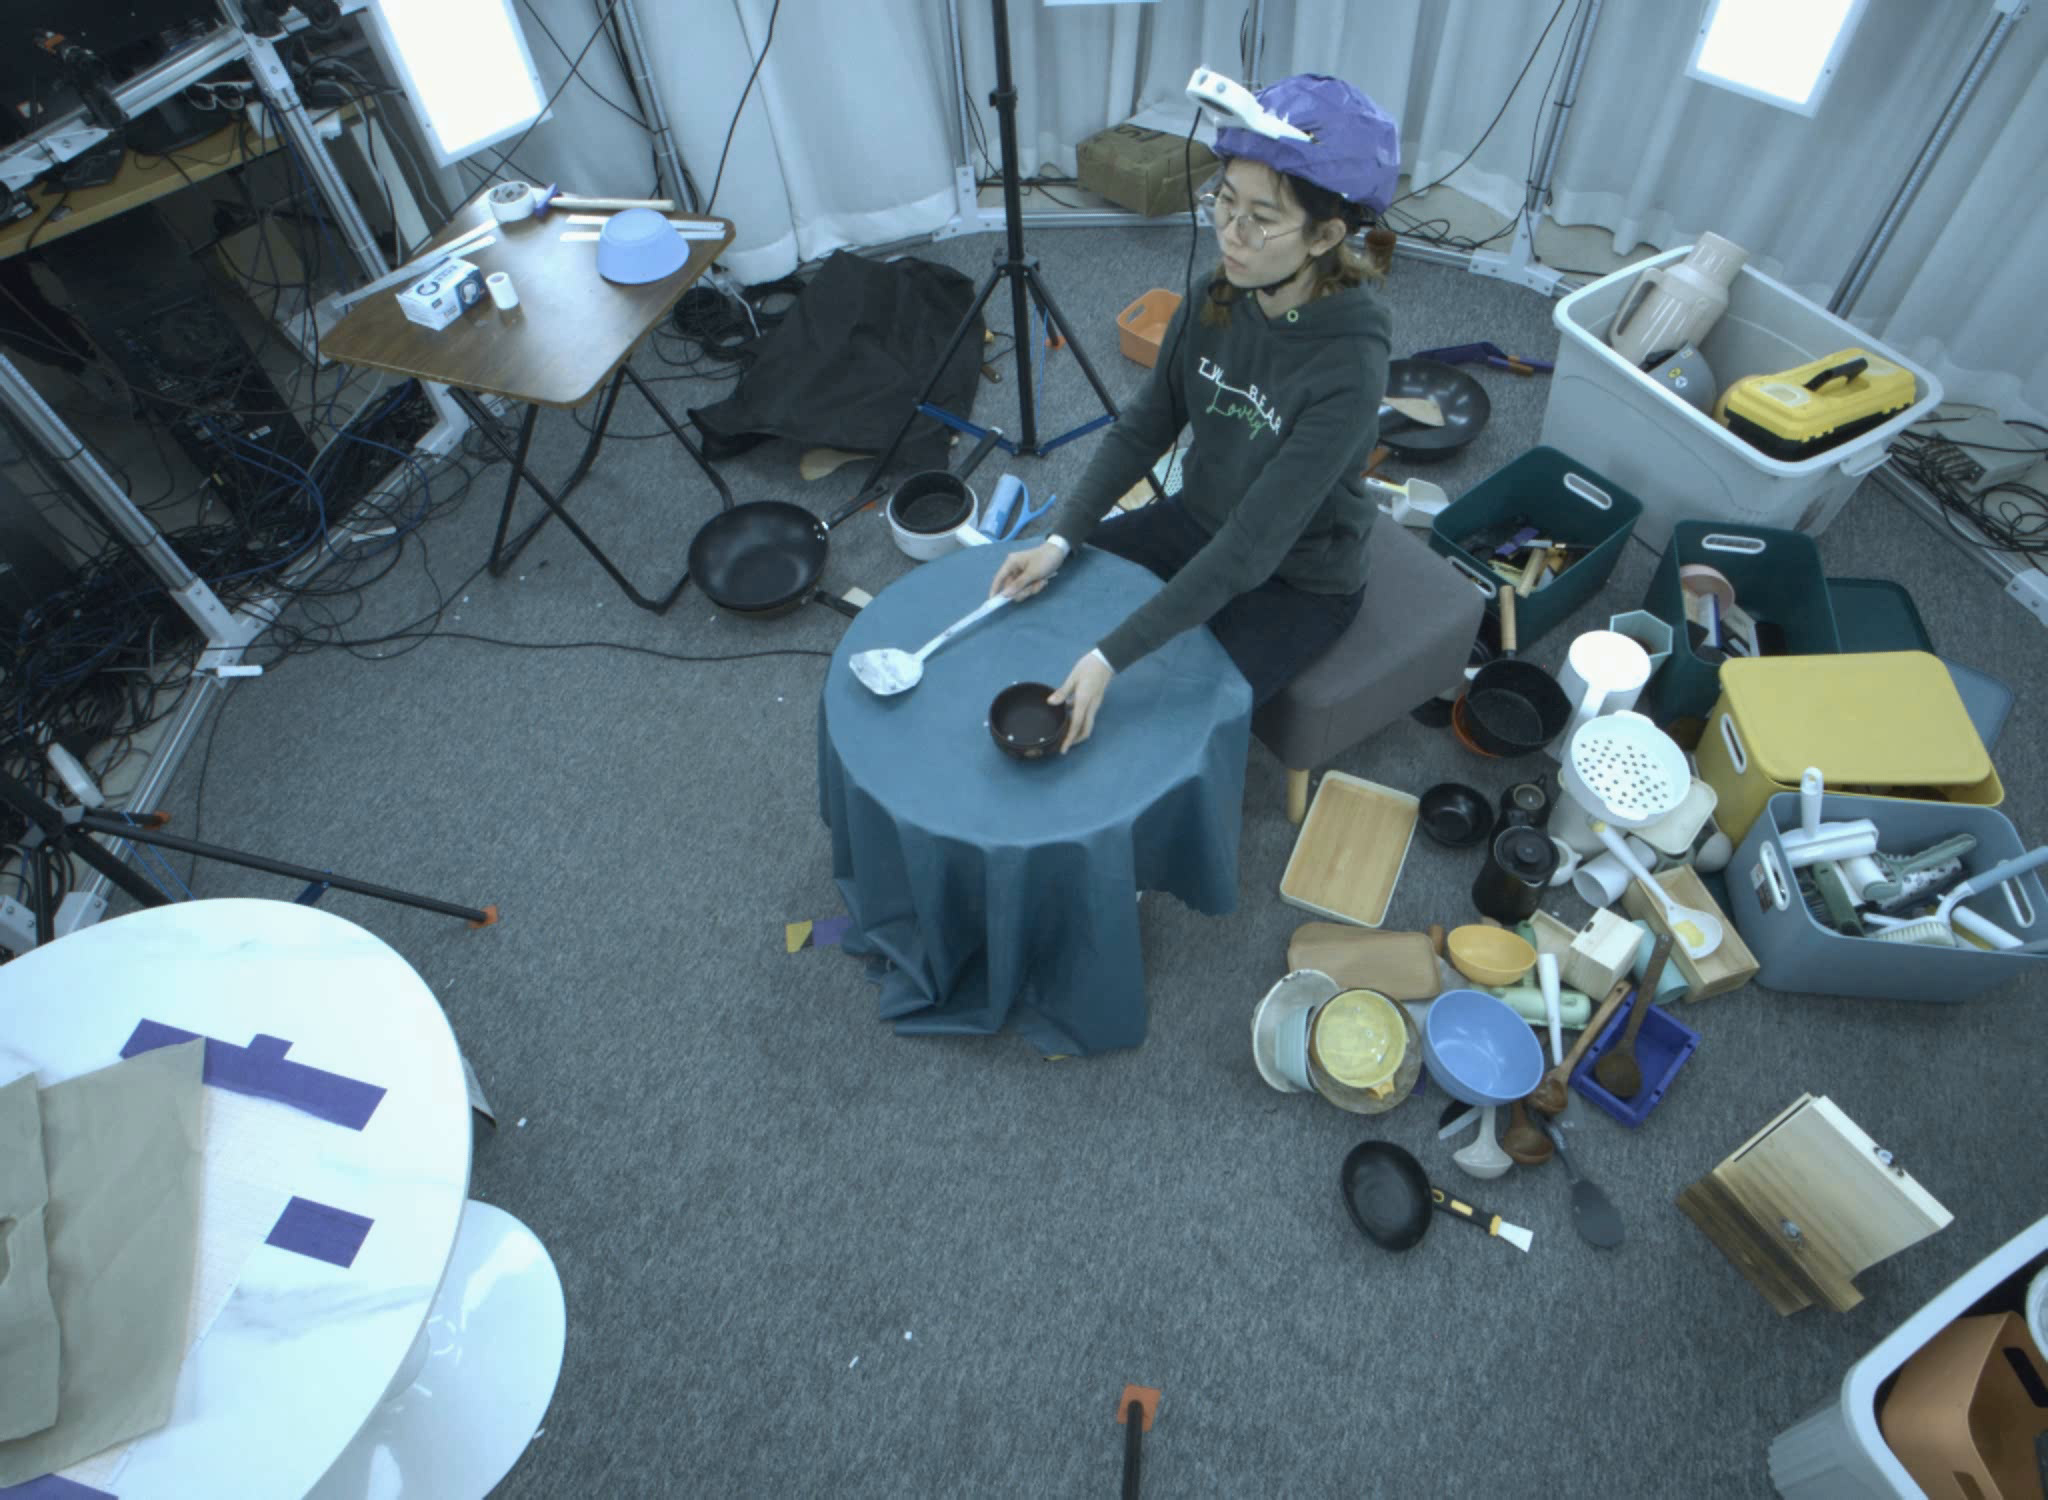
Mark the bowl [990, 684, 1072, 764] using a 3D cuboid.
[{"bbox_3d":[0.011,-0.029,1.774,0.118,0.070,0.117,1,55,0],"label":"bowl"}]

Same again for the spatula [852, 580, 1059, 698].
[{"bbox_3d":[-0.098,-0.187,1.903,0.367,0.045,0.097,-34,61,-17],"label":"spatula"}]
